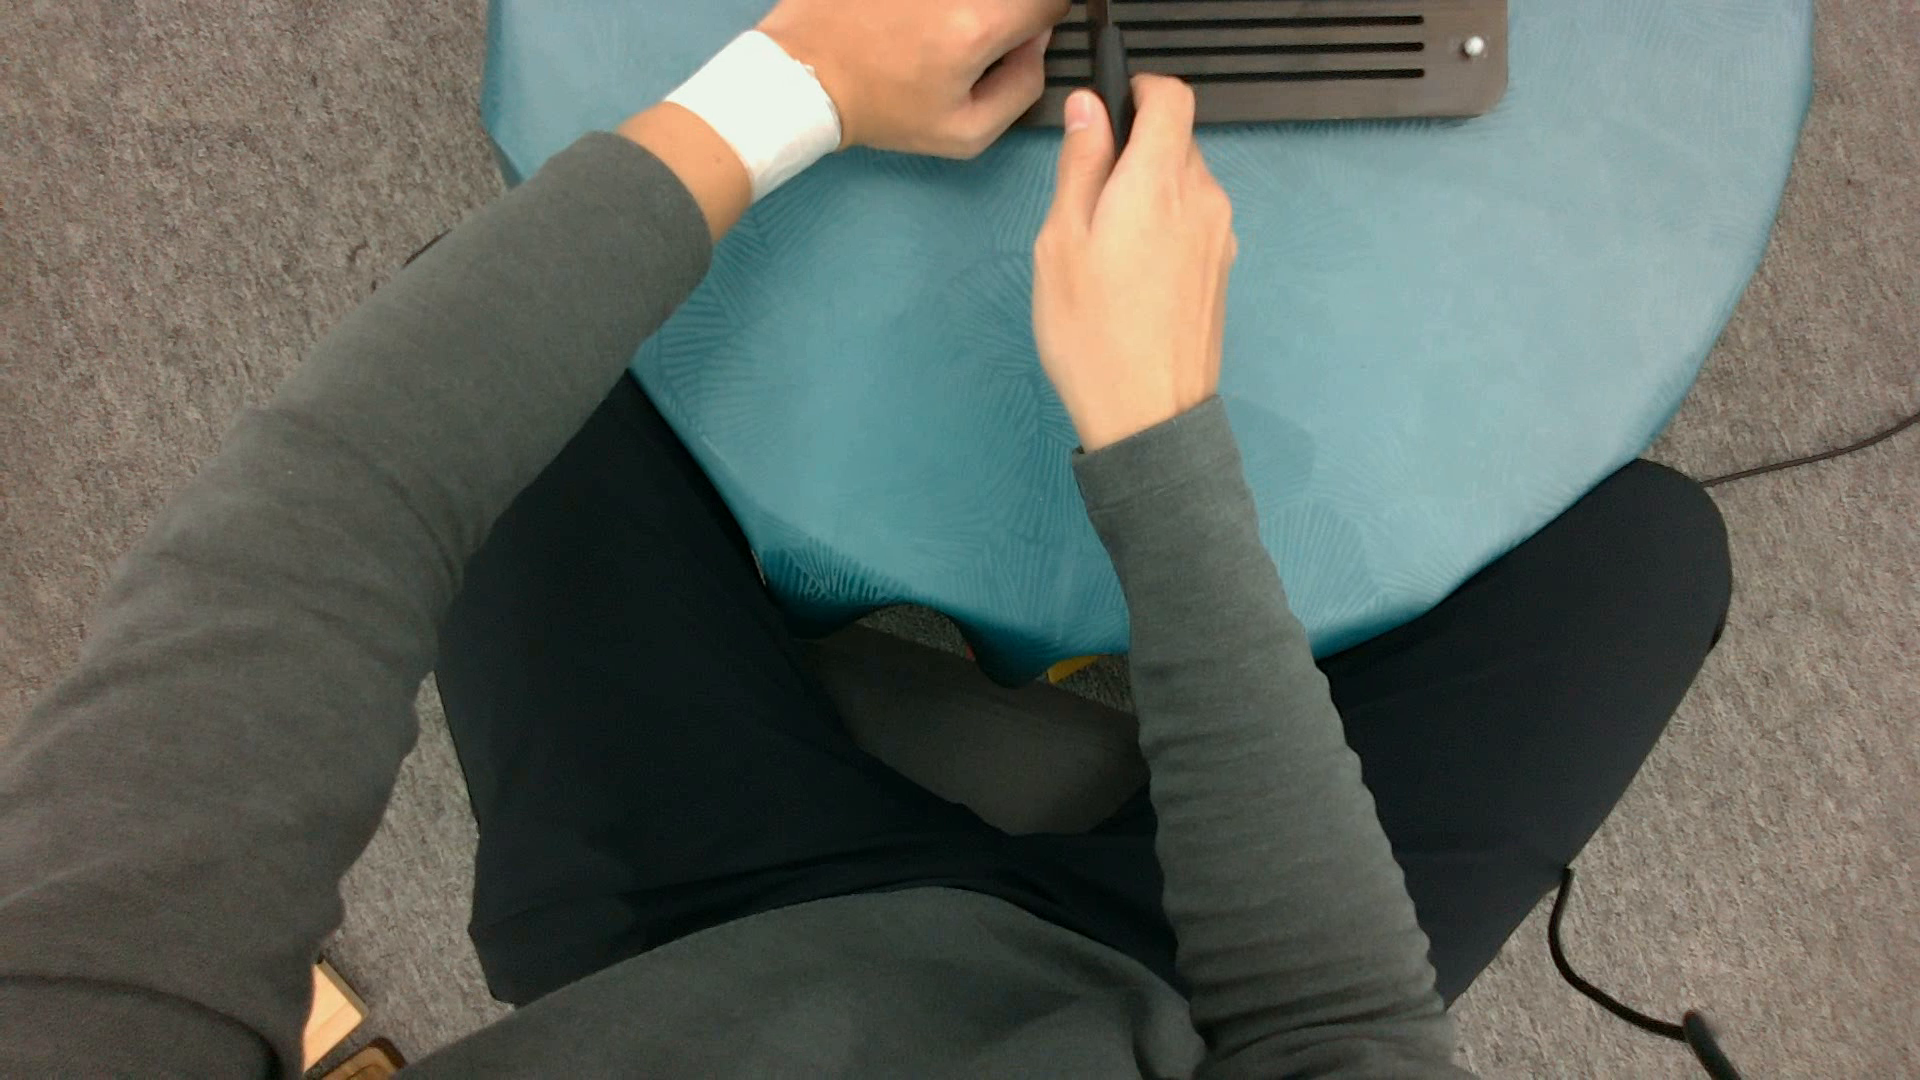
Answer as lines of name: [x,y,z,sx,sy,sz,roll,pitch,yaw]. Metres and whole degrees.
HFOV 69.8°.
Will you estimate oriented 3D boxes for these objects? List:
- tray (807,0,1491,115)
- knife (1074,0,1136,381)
tray: [0.084,-0.277,0.614,0.306,0.018,0.170,-2,94,-2]
knife: [0.049,-0.215,0.544,0.021,0.081,0.302,-4,89,0]
